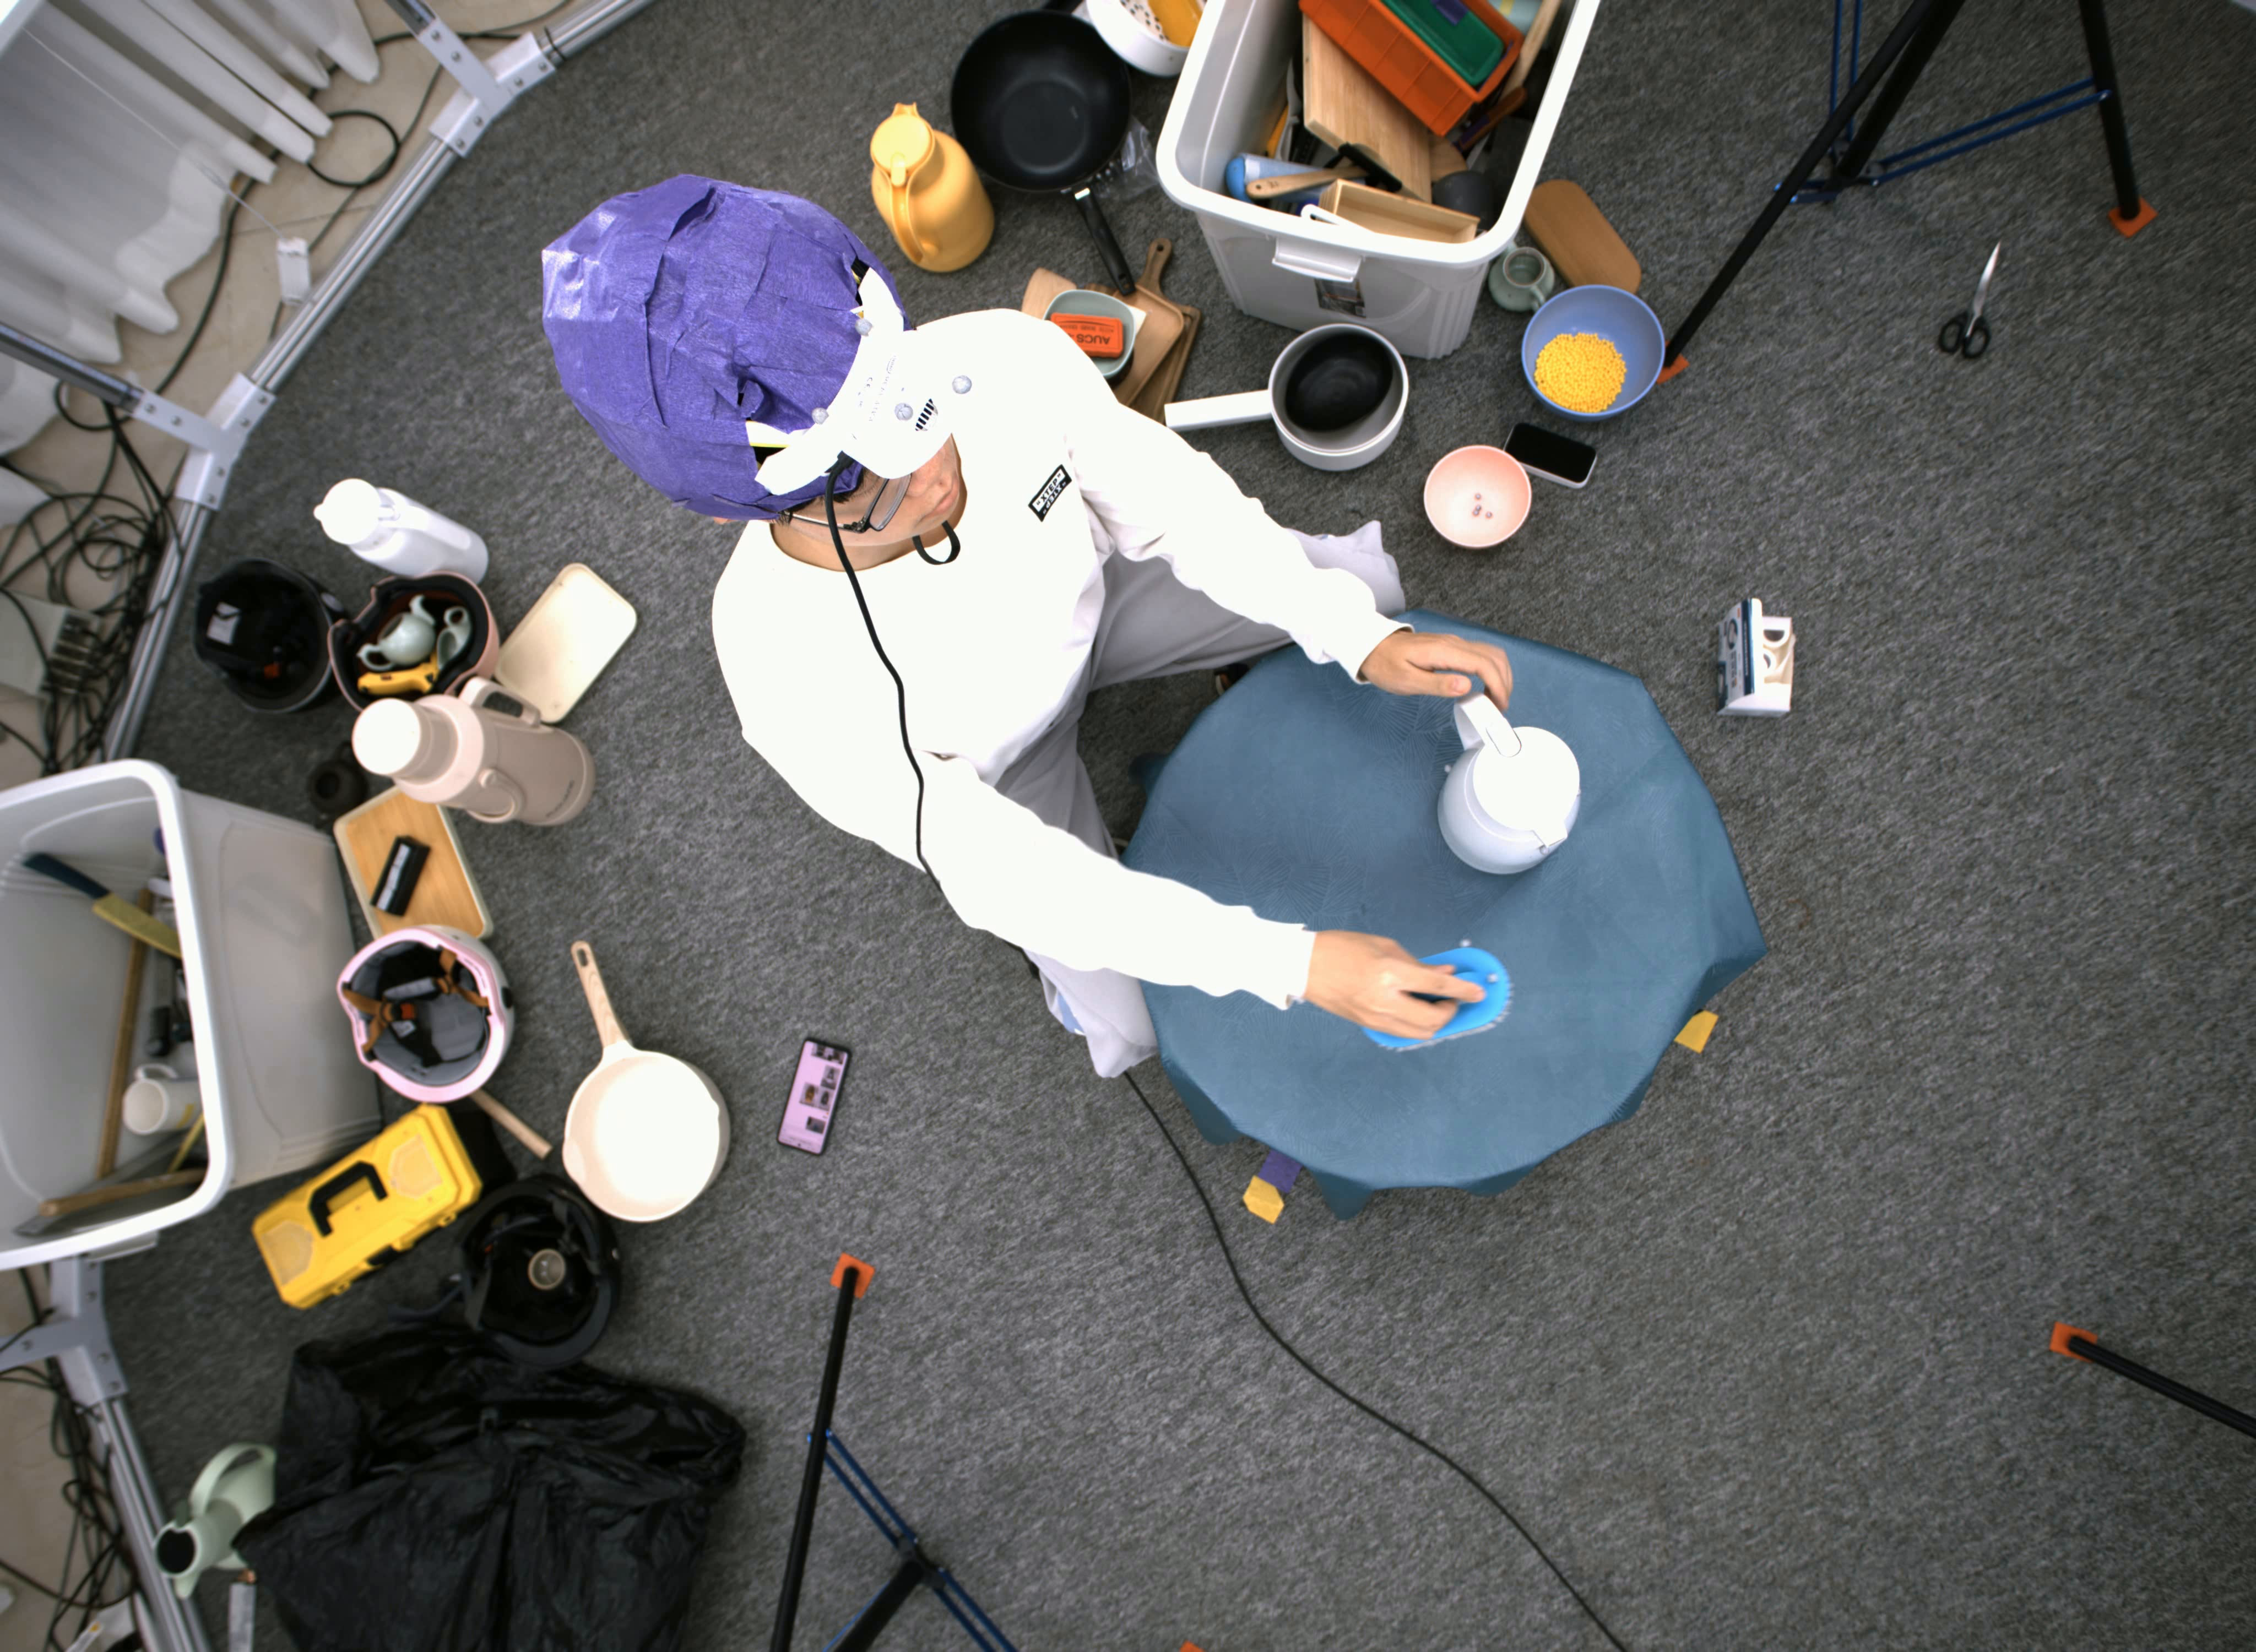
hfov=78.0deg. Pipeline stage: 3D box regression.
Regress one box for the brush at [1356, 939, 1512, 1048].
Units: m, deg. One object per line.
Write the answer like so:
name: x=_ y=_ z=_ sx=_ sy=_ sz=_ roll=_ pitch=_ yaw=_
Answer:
brush: x=0.272 y=0.149 z=1.233 sx=0.143 sy=0.064 sz=0.083 roll=-16 pitch=77 yaw=17

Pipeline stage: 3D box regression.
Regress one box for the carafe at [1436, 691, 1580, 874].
carafe: x=0.360 y=-0.048 z=1.322 sx=0.133 sy=0.249 sz=0.166 roll=-28 pitch=80 yaw=6
